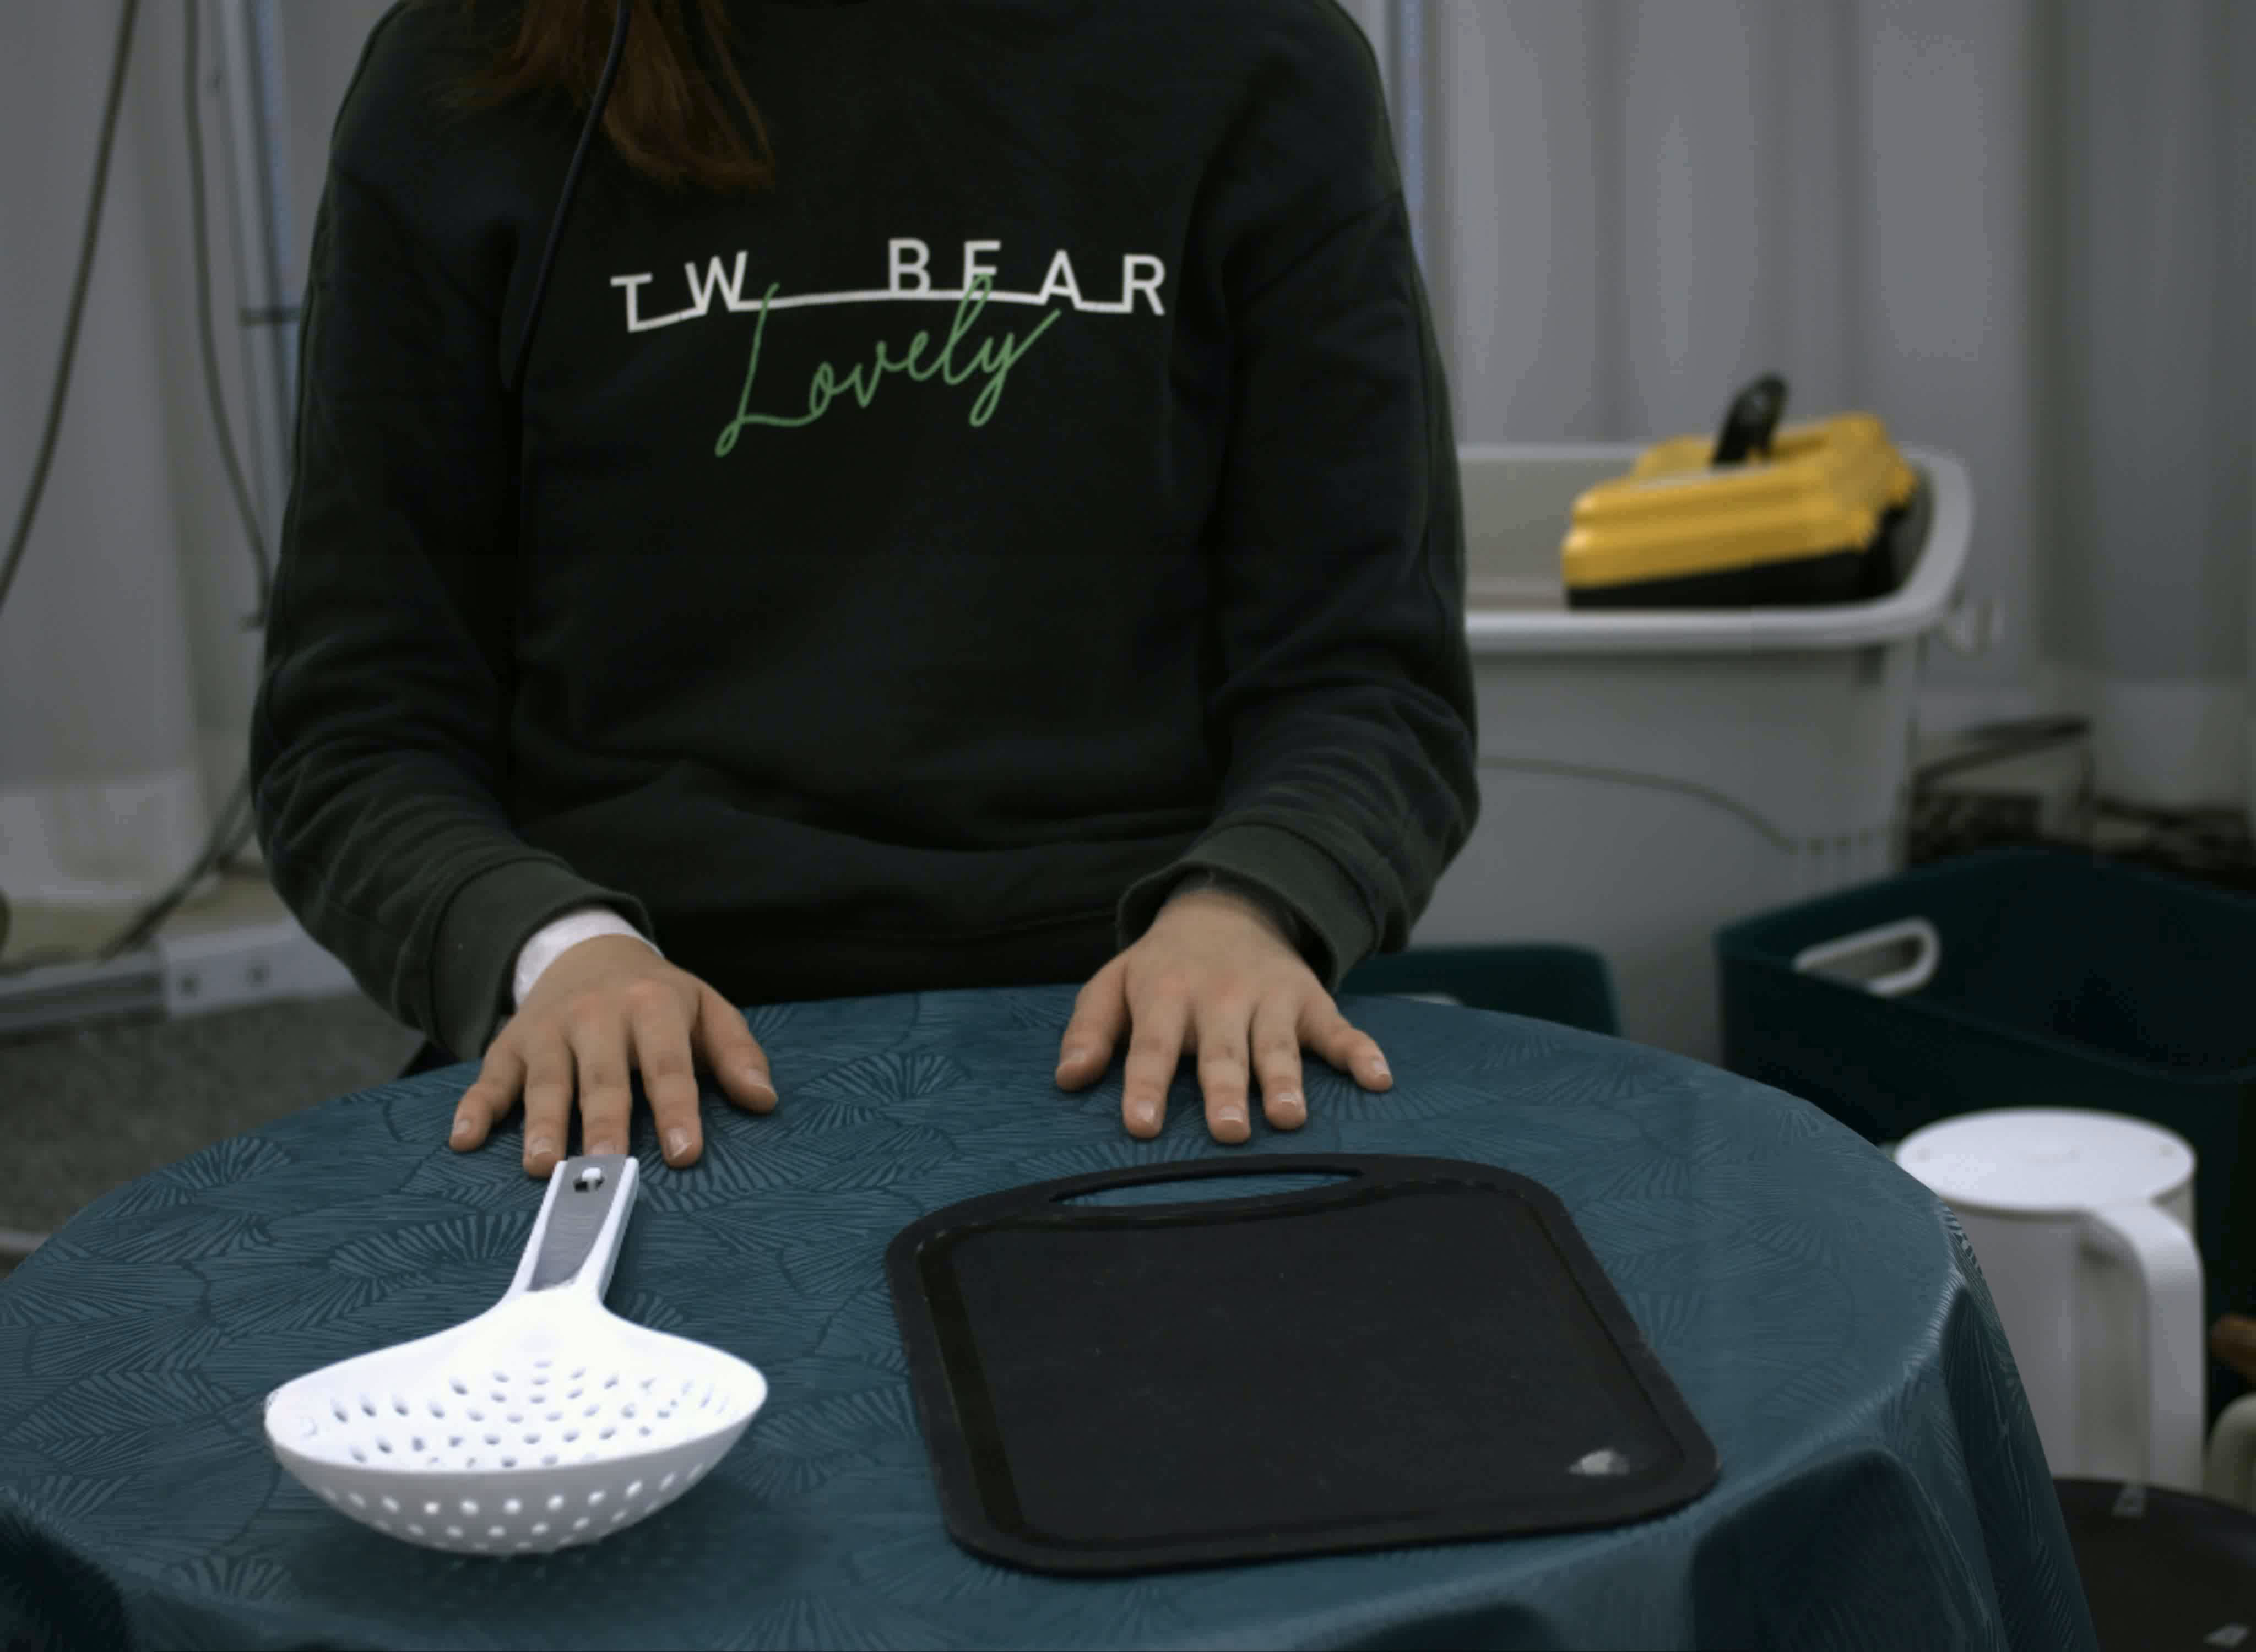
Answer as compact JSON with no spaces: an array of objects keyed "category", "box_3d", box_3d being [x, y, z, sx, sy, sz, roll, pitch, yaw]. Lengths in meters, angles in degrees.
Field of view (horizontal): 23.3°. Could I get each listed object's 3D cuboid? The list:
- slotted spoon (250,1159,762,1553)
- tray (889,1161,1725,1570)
[{"category":"slotted spoon","box_3d":[-0.165,0.141,1.558,0.135,0.045,0.352,-1,14,0]},{"category":"tray","box_3d":[0.042,0.147,1.572,0.210,0.010,0.328,-4,15,-6]}]
